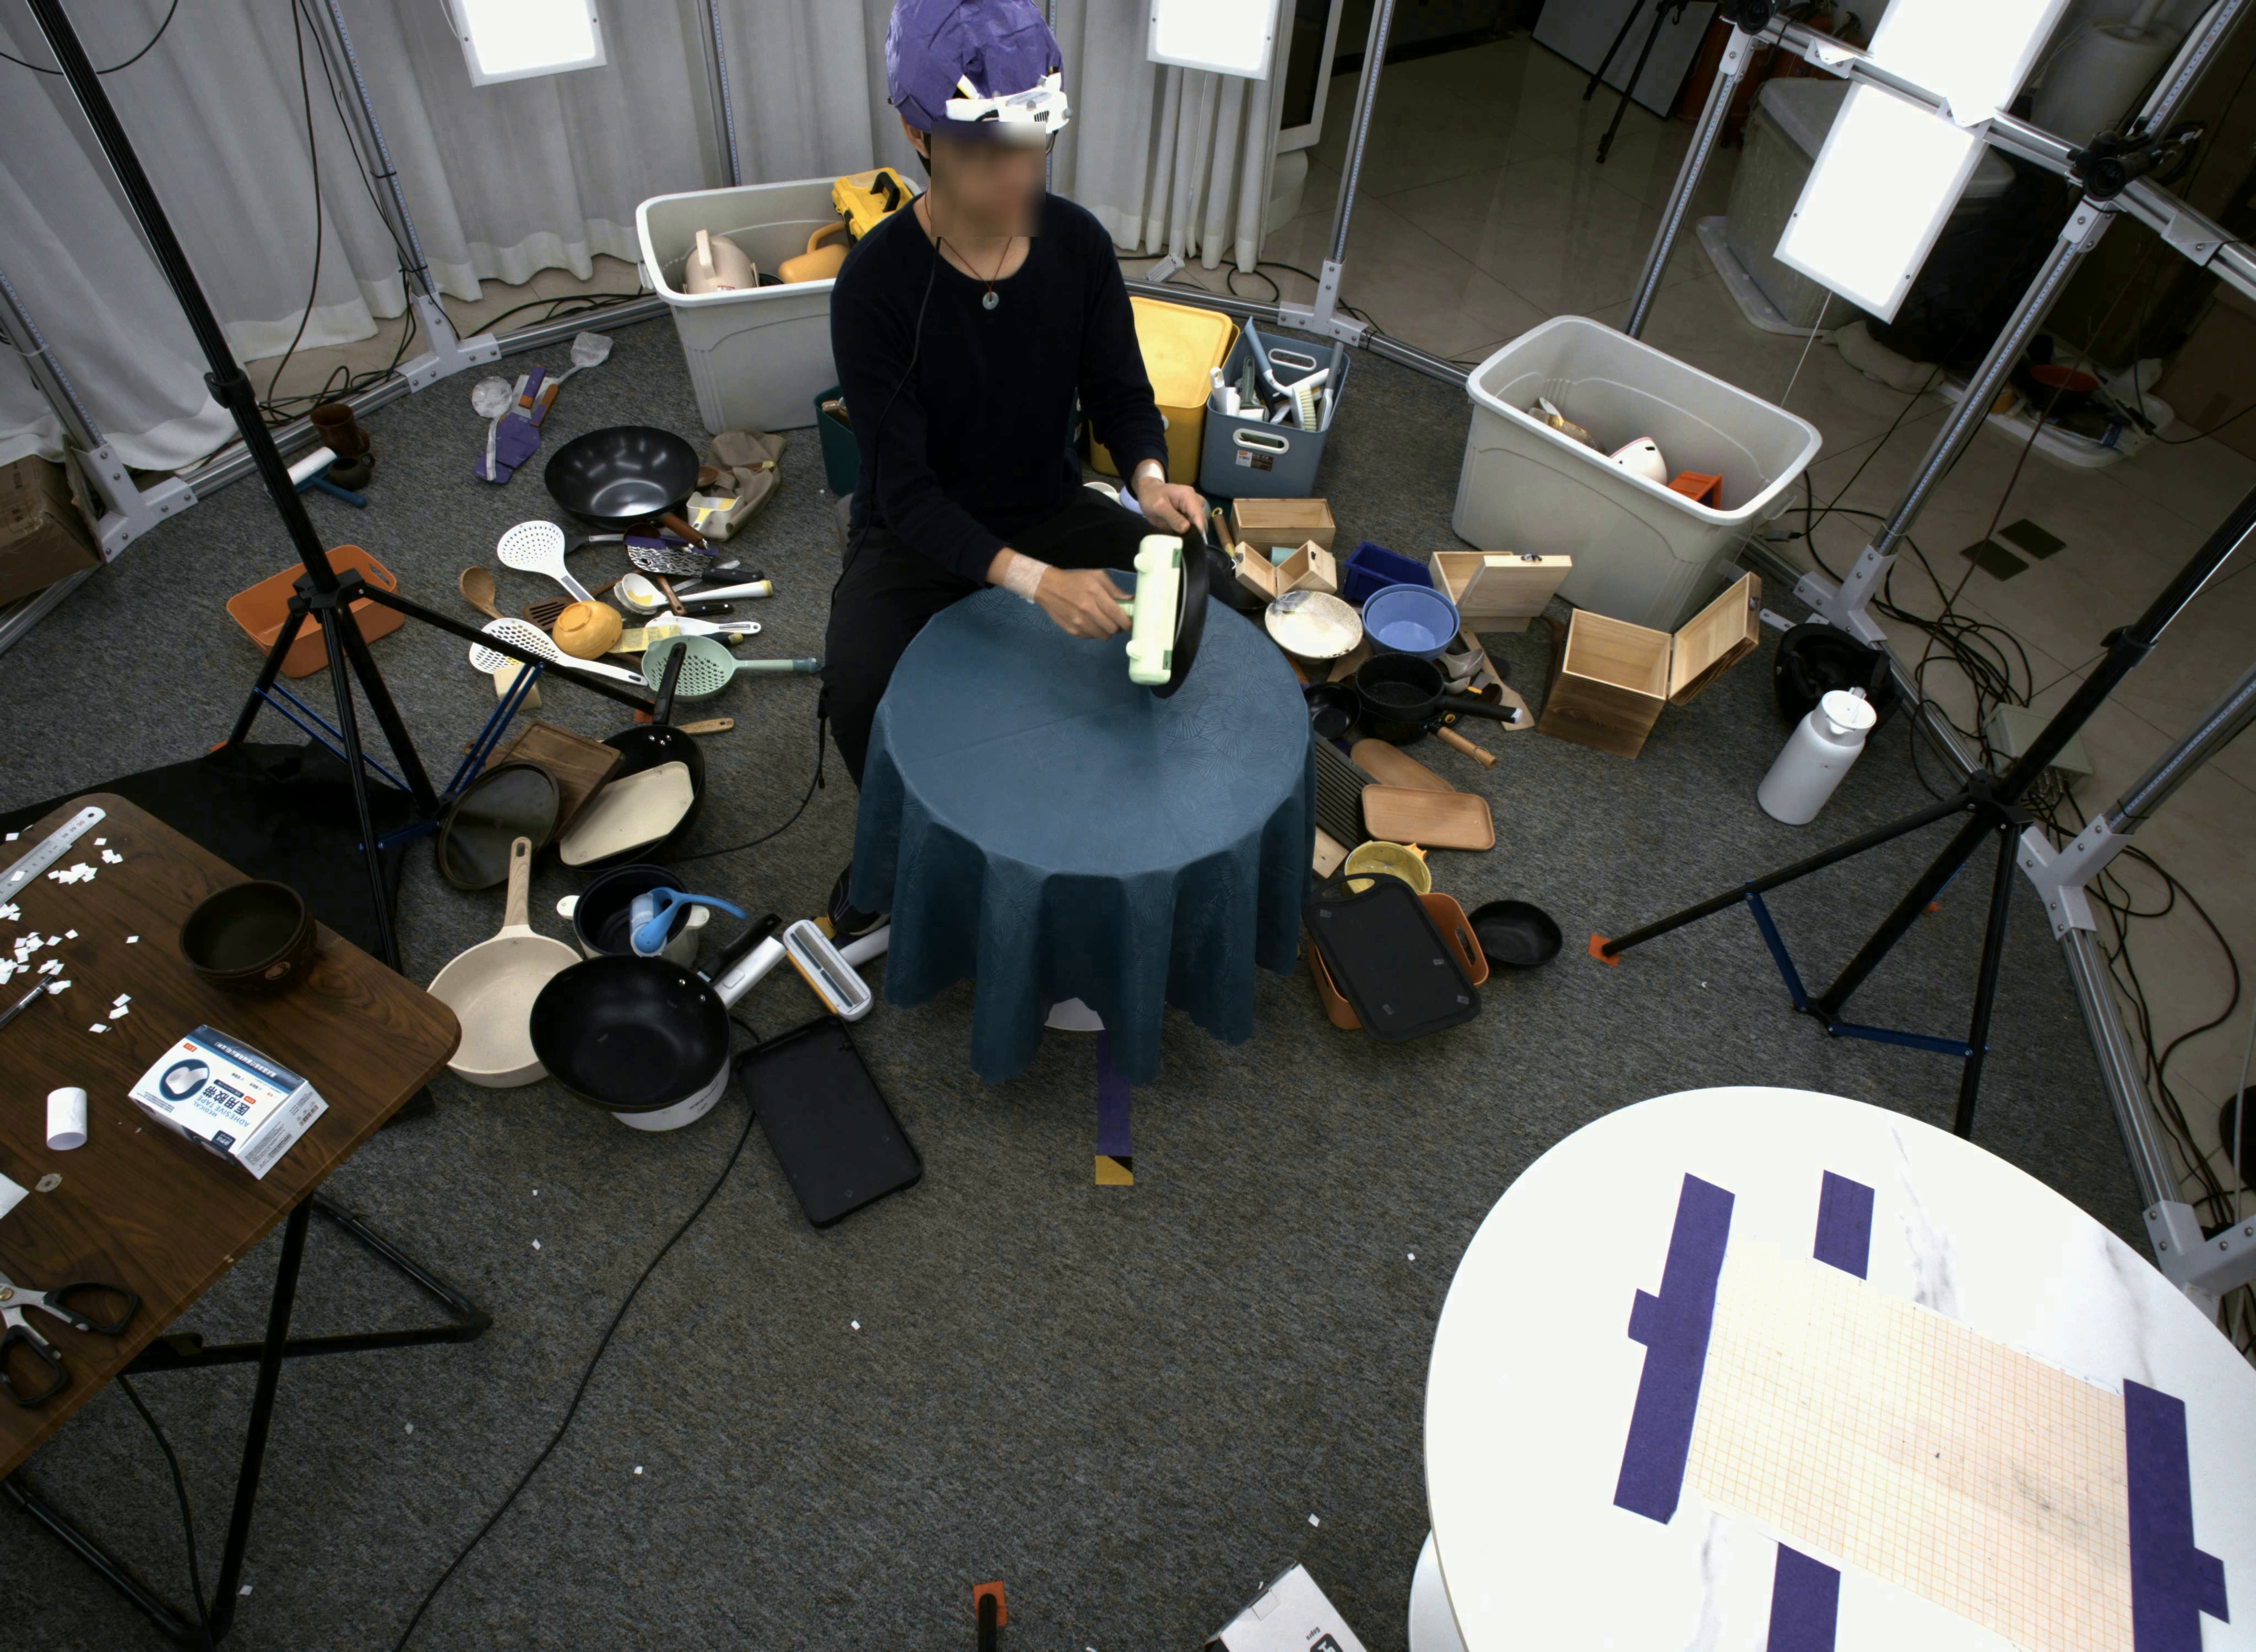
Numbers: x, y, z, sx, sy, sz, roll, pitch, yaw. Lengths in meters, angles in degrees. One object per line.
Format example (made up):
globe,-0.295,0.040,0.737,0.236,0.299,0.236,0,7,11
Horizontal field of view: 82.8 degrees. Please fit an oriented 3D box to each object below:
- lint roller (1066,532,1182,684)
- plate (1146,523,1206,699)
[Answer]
lint roller,-0.018,-0.295,1.732,0.184,0.081,0.199,5,87,26
plate,0.054,-0.298,1.775,0.023,0.239,0.250,7,47,-18
